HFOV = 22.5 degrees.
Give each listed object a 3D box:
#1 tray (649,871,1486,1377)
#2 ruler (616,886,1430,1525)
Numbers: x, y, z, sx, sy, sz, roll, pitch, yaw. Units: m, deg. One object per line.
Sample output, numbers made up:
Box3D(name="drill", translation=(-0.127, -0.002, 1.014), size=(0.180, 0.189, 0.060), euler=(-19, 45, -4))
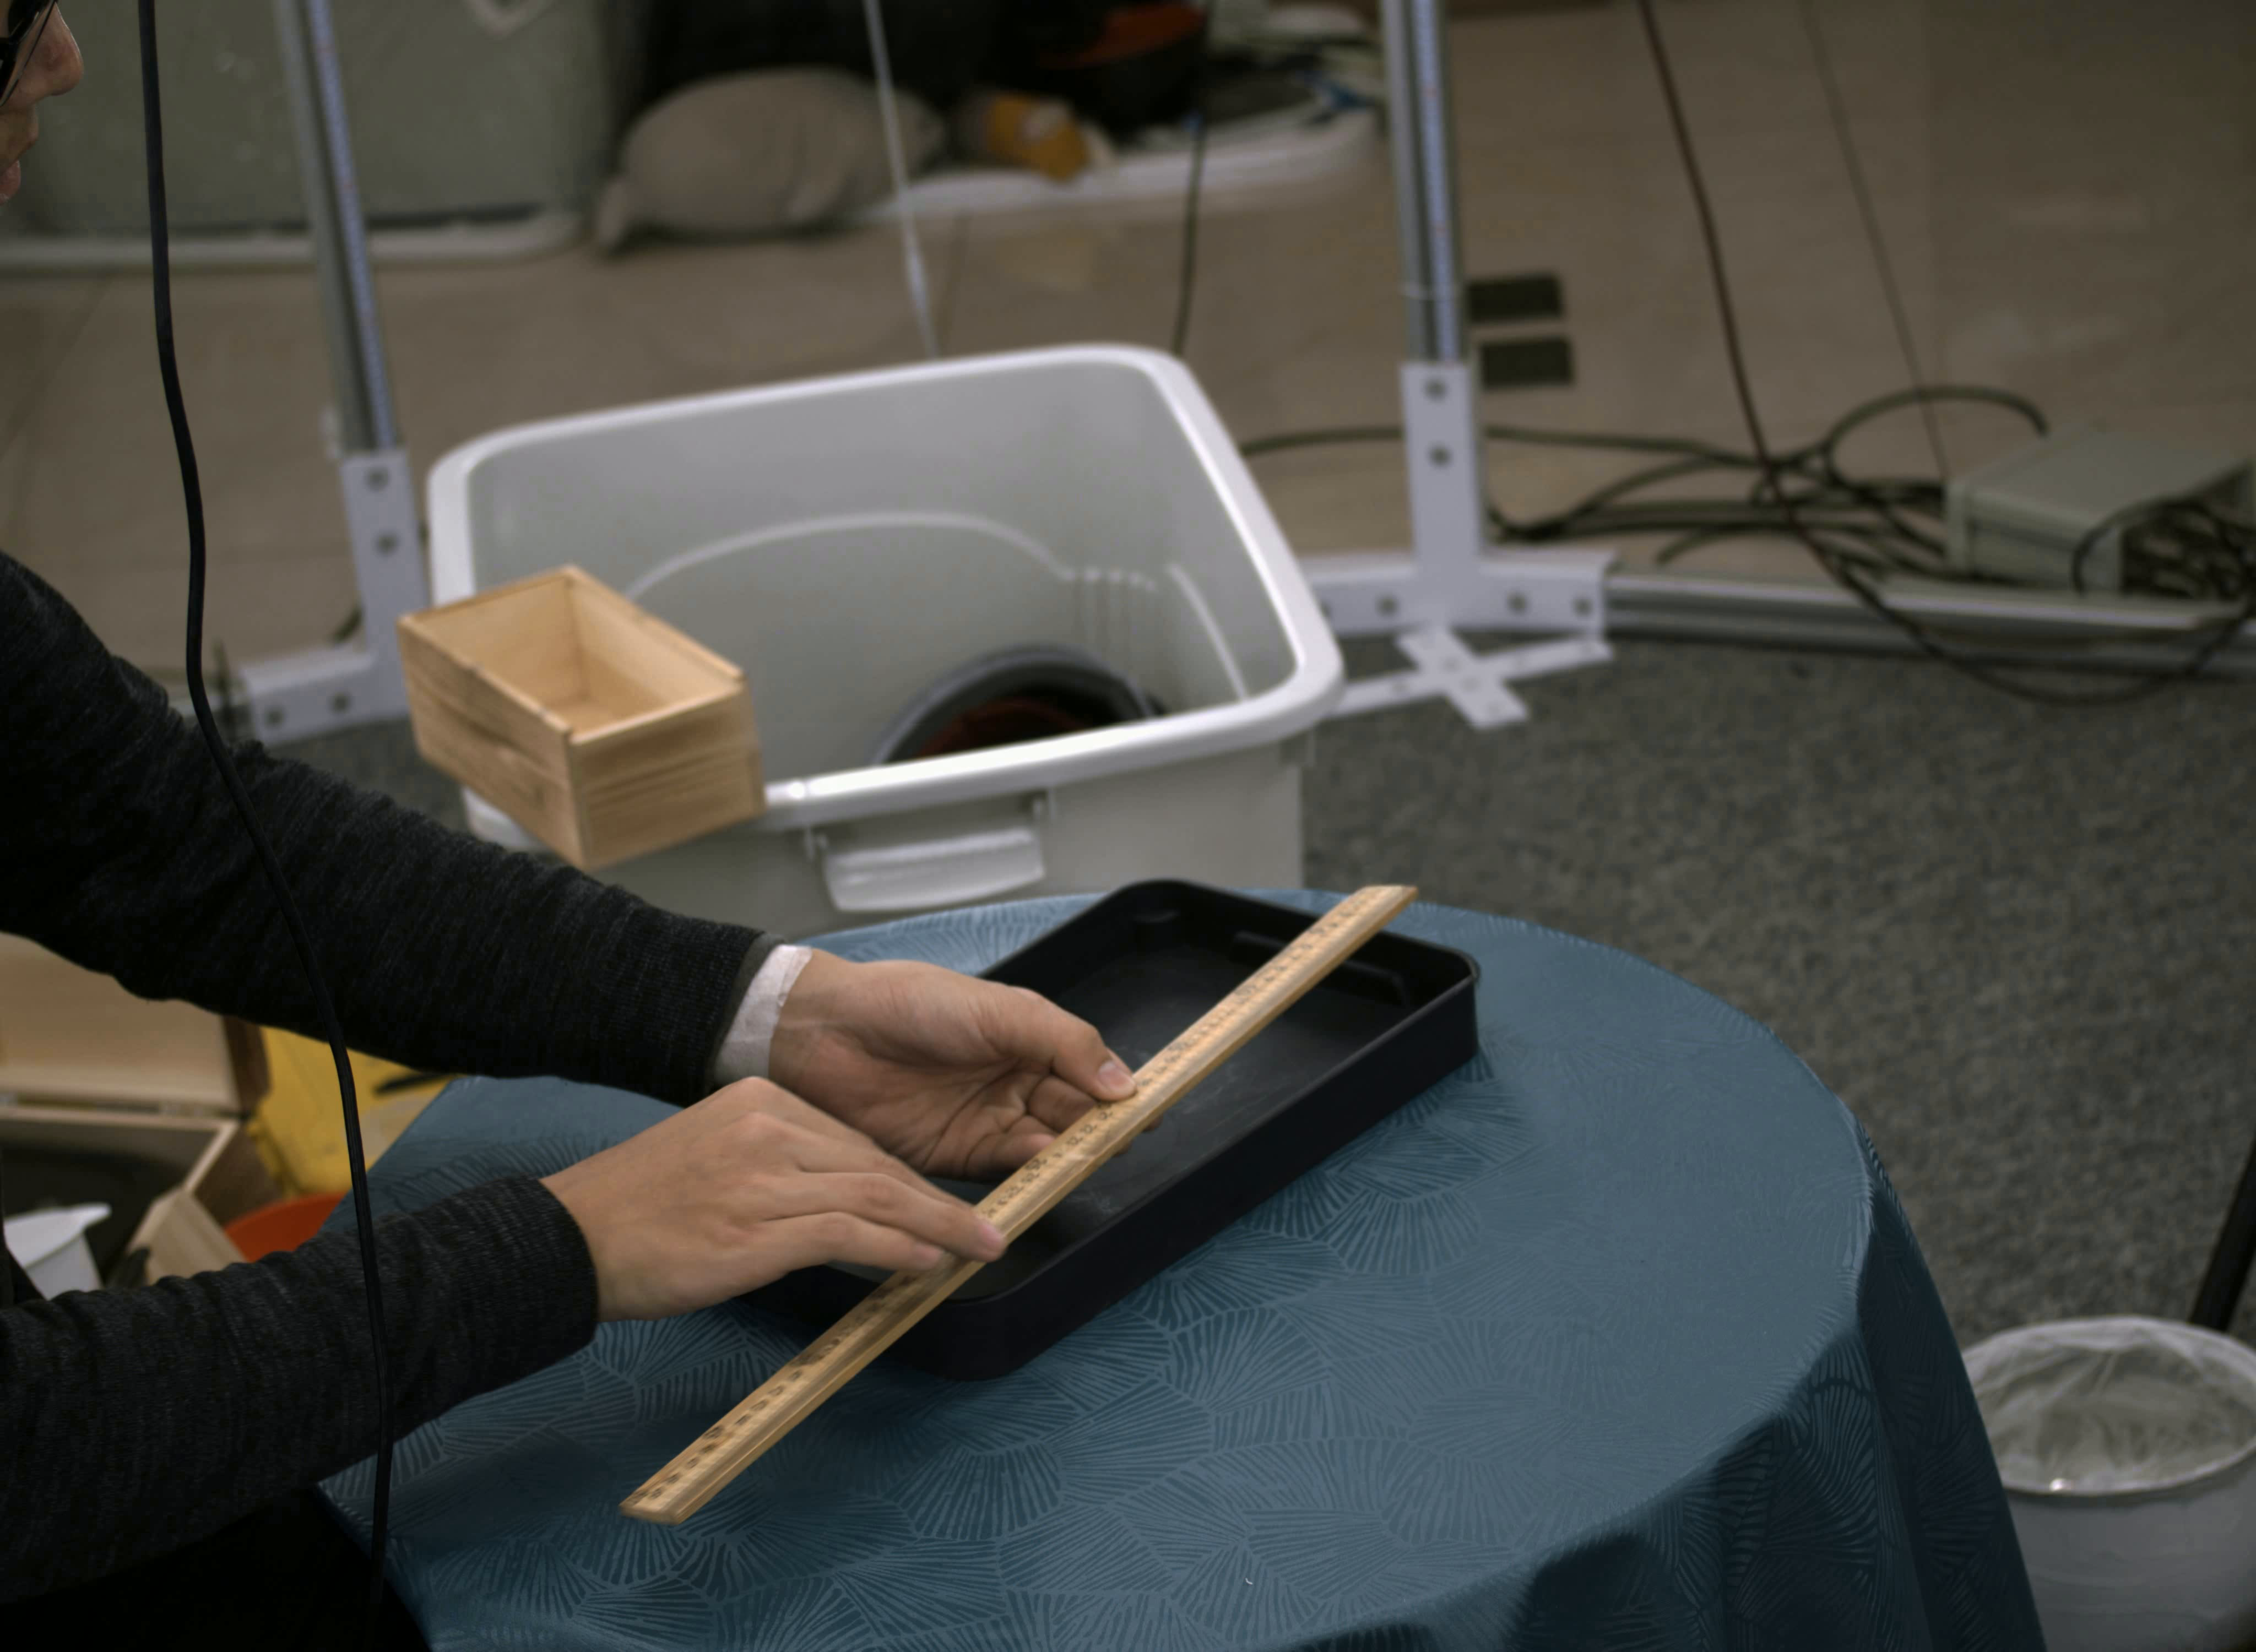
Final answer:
Box3D(name="tray", translation=(-0.018, 0.108, 2.176), size=(0.183, 0.037, 0.315), euler=(14, 32, 37))
Box3D(name="ruler", translation=(-0.027, 0.128, 2.070), size=(0.027, 0.006, 0.495), euler=(4, 27, 36))
